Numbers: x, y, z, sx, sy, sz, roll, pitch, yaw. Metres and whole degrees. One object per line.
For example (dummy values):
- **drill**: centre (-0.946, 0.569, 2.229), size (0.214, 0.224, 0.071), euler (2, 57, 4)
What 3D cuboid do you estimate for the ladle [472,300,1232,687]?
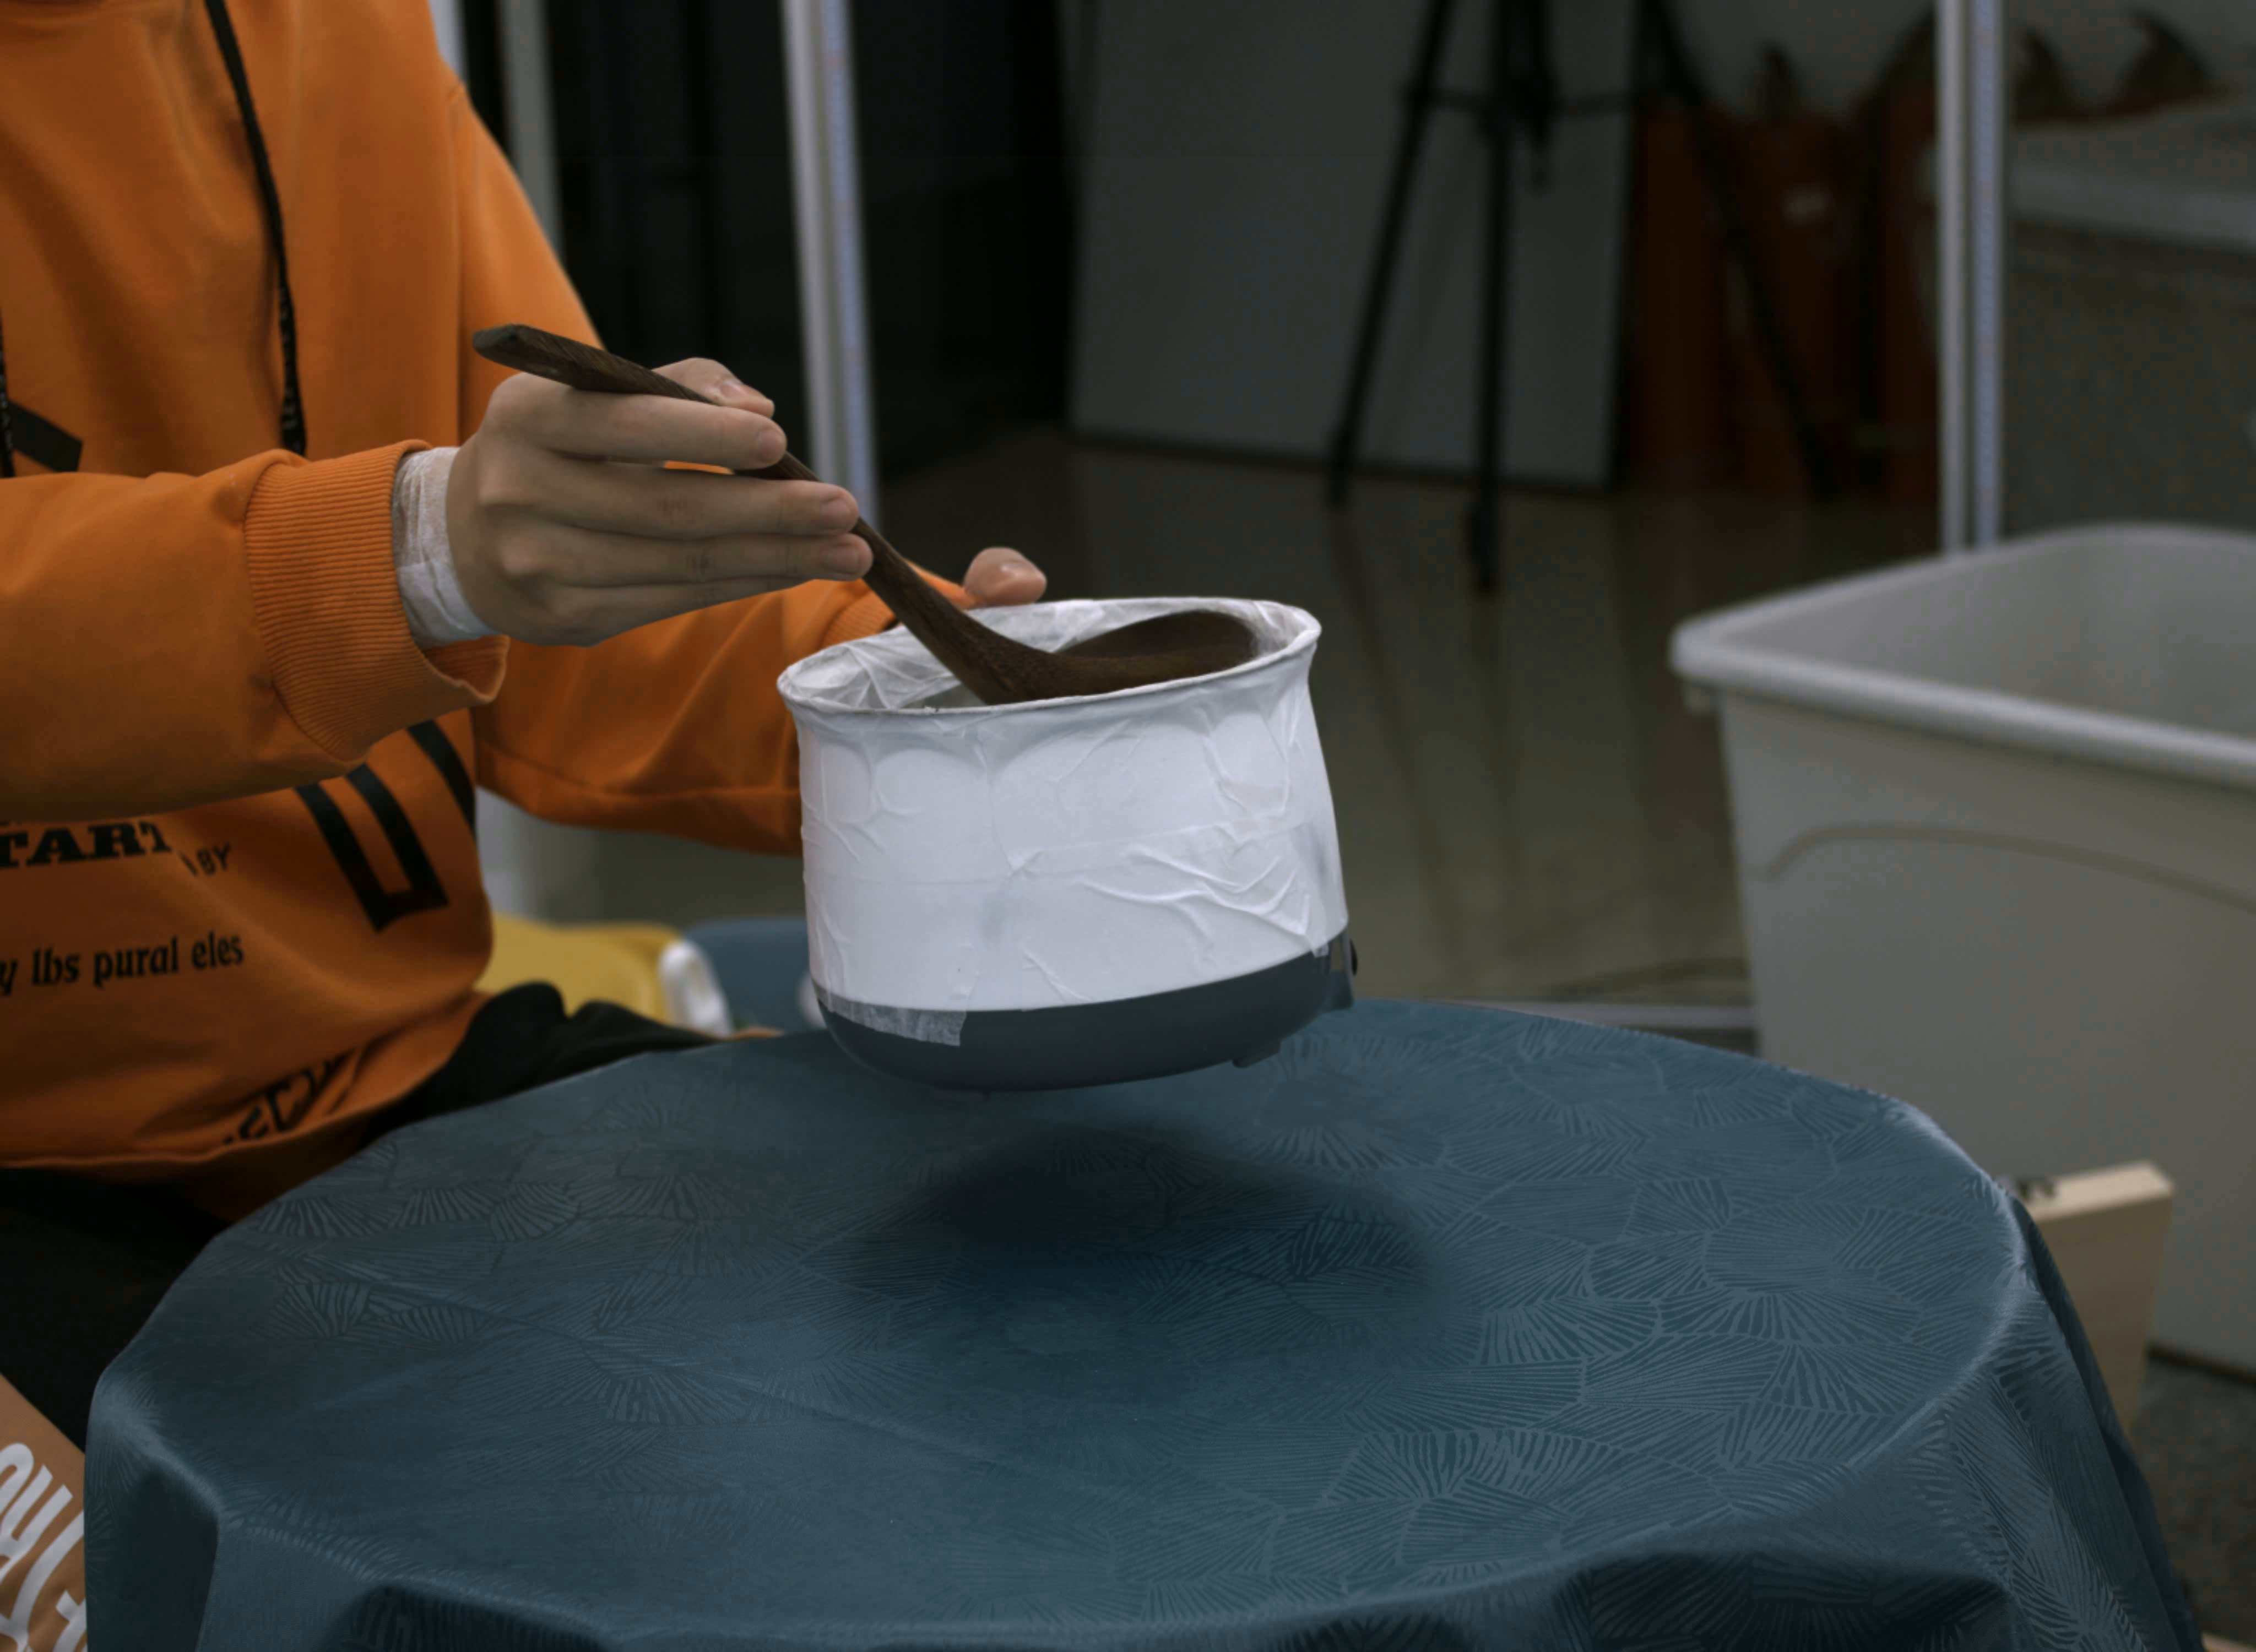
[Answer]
- **ladle**: centre (-0.079, -0.110, 1.651), size (0.270, 0.072, 0.077), euler (35, -26, -29)

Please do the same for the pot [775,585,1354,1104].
- **pot**: centre (-0.024, 0.000, 1.760), size (0.176, 0.138, 0.235), euler (-8, 11, -8)
